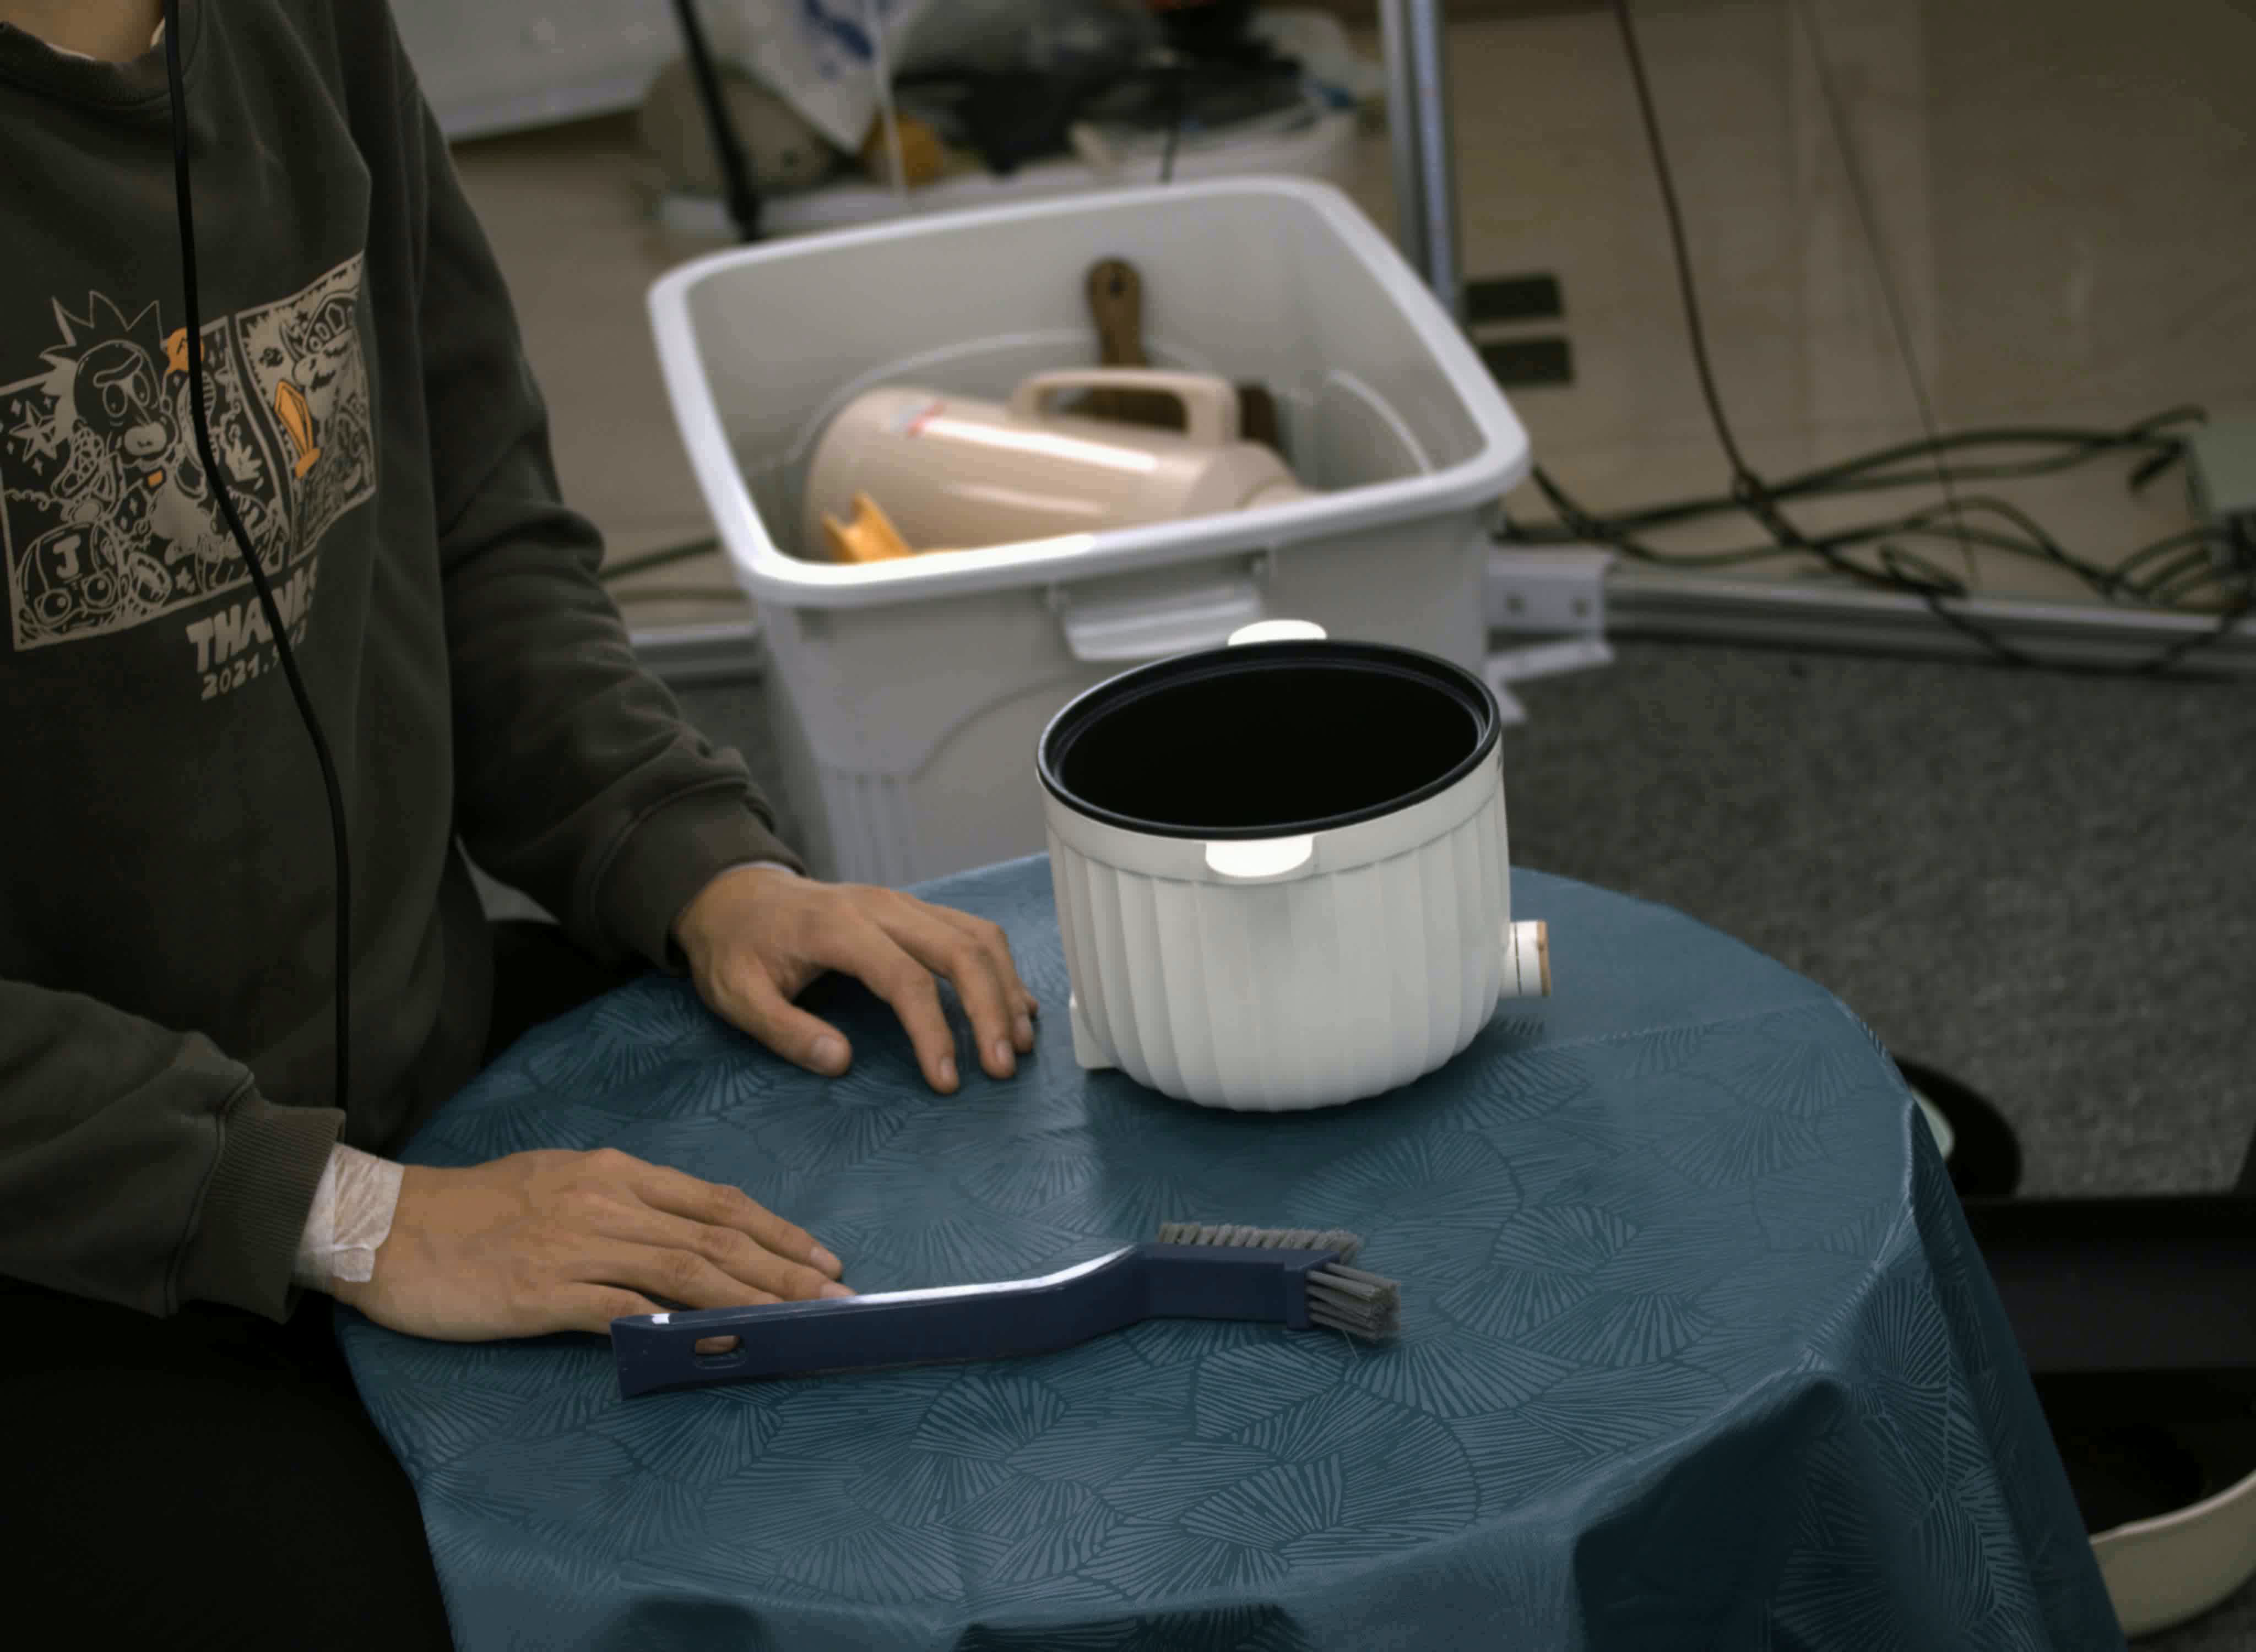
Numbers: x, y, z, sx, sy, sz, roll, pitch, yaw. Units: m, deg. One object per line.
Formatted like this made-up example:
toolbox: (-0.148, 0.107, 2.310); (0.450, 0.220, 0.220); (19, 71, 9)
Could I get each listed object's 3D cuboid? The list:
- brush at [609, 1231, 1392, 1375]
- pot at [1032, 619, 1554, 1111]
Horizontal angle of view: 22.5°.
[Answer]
brush: (-0.047, 0.178, 2.037); (0.272, 0.034, 0.094); (-8, 26, -6)
pot: (0.066, 0.021, 2.215); (0.190, 0.145, 0.237); (-7, 26, 7)
